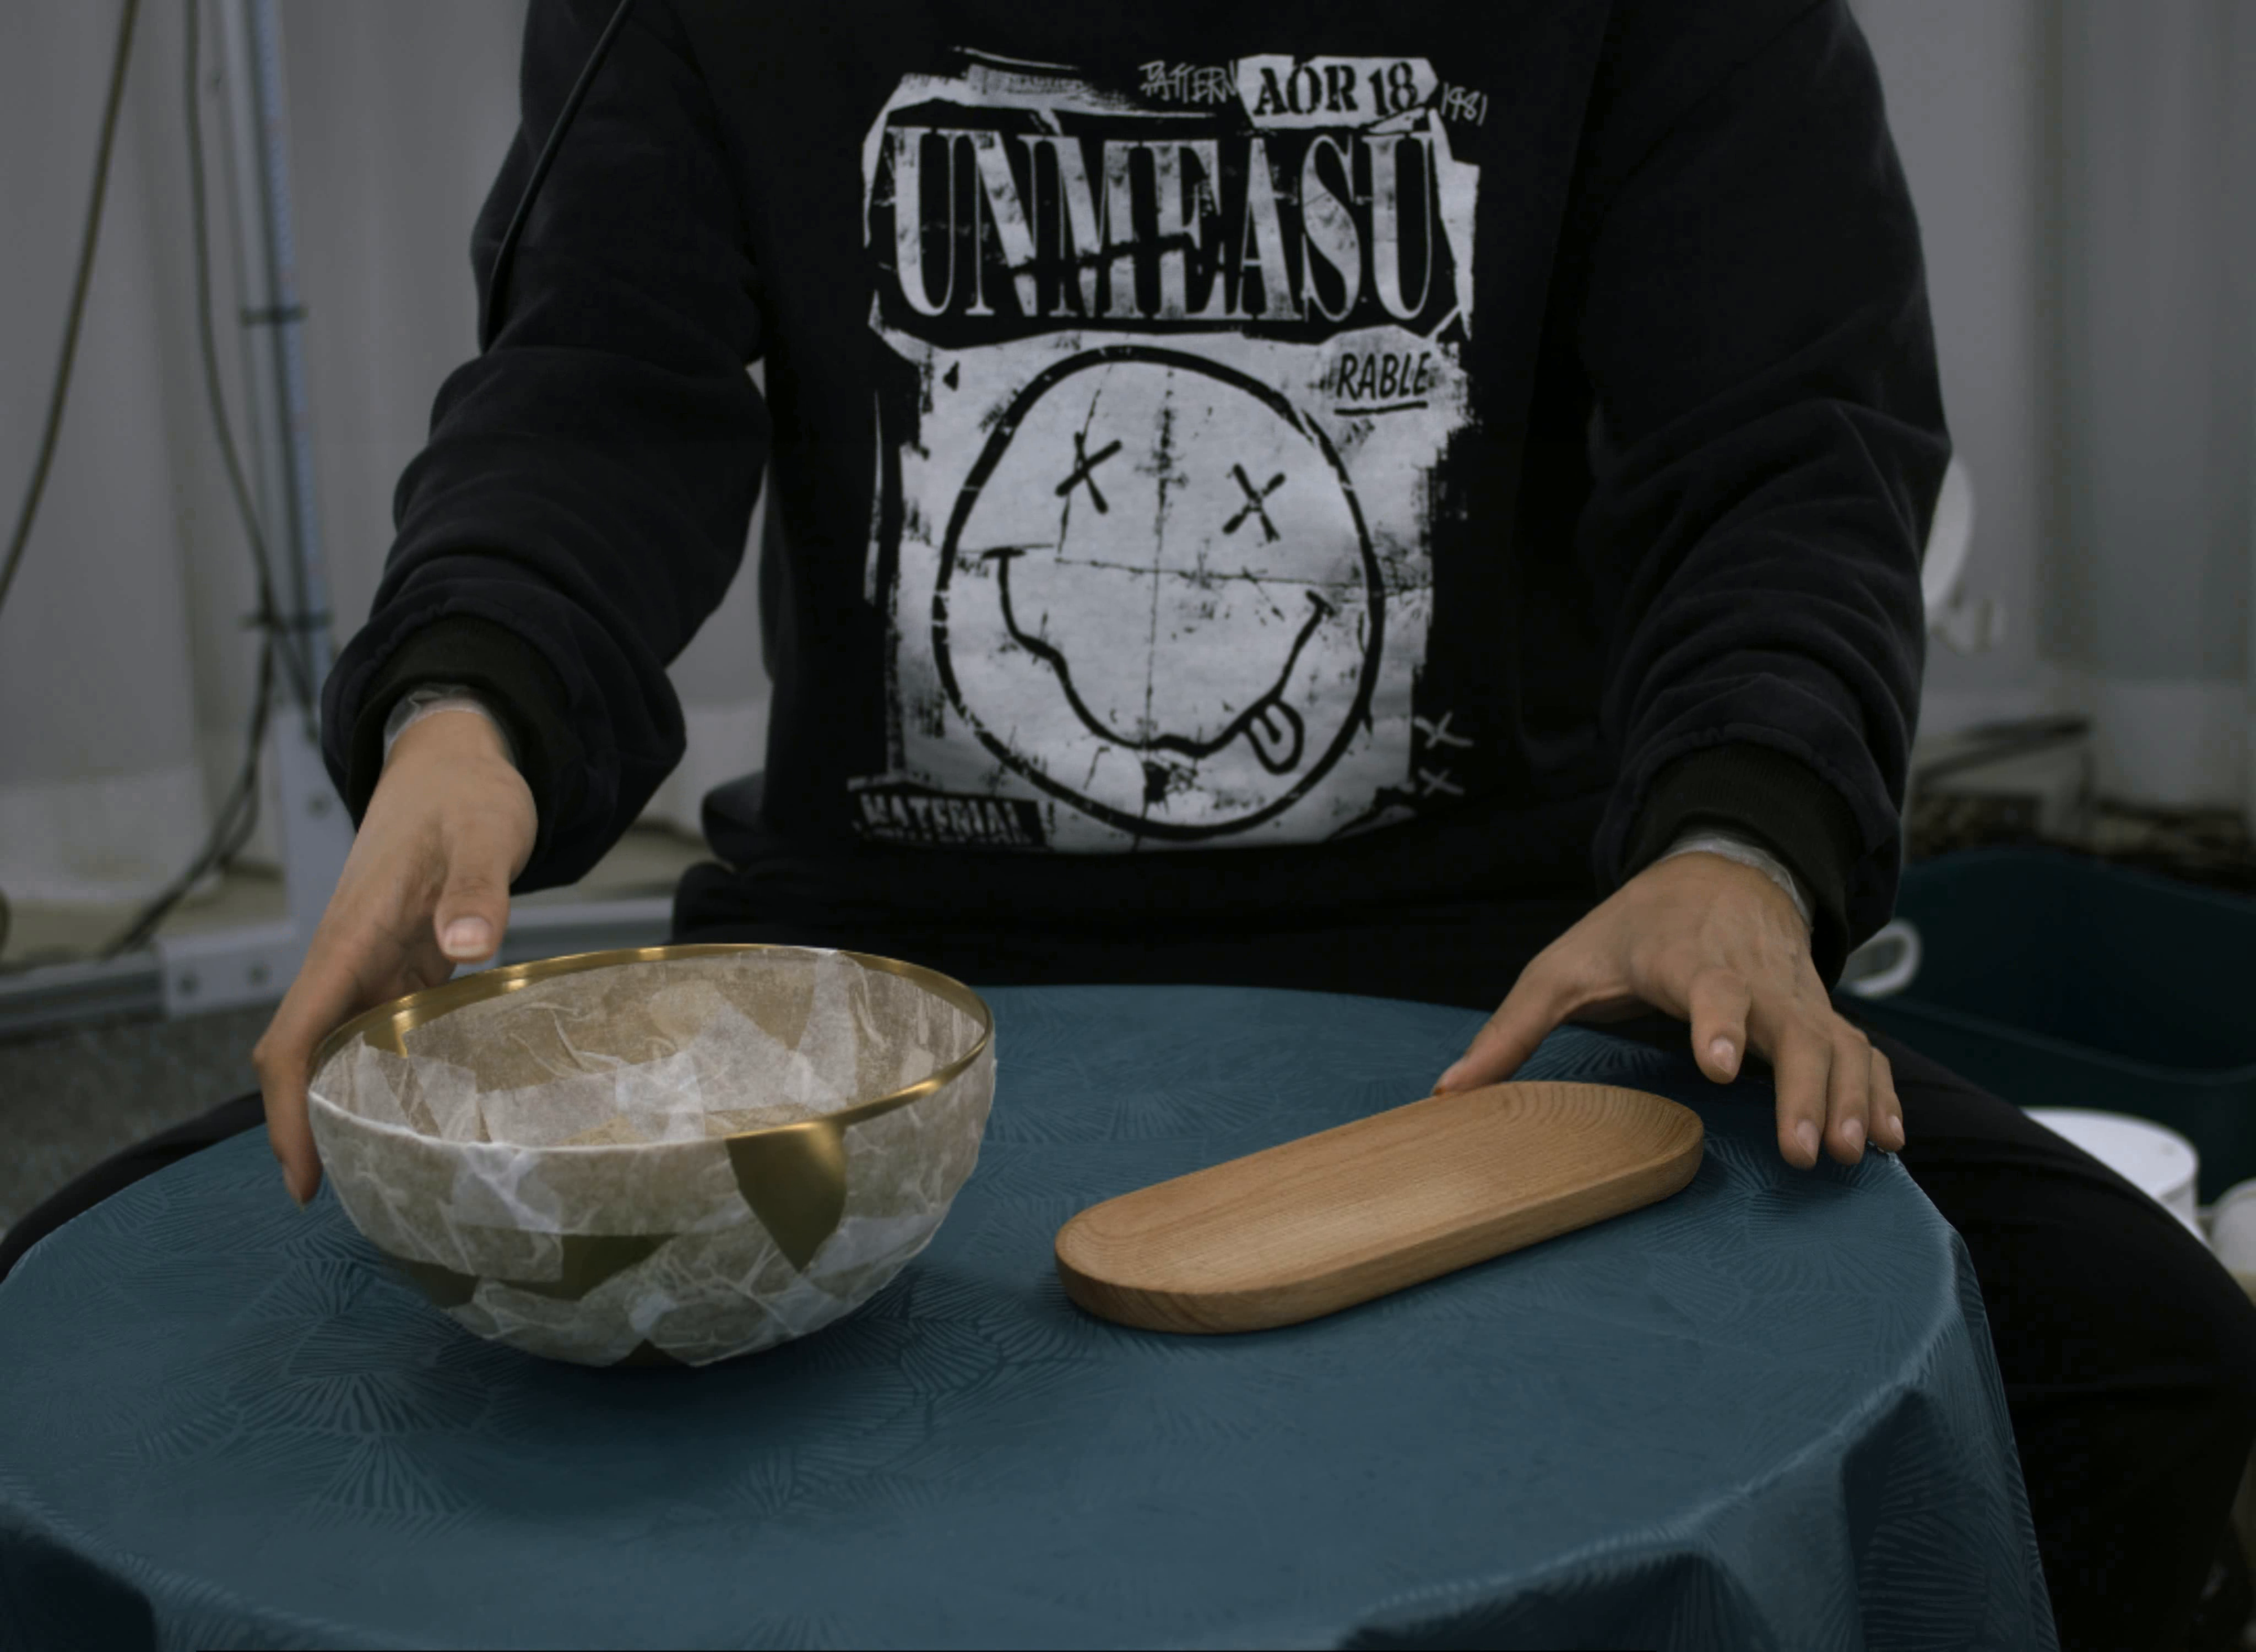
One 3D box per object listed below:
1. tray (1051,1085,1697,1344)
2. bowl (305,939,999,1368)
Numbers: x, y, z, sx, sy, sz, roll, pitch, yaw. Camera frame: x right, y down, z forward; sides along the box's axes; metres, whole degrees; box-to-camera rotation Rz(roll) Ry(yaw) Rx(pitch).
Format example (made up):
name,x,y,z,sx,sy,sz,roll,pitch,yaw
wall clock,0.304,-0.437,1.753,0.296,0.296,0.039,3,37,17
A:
name,x,y,z,sx,sy,sz,roll,pitch,yaw
tray,0.077,0.117,1.663,0.231,0.020,0.102,-17,18,-37
bowl,-0.132,0.103,1.603,0.214,0.094,0.216,-4,14,1
